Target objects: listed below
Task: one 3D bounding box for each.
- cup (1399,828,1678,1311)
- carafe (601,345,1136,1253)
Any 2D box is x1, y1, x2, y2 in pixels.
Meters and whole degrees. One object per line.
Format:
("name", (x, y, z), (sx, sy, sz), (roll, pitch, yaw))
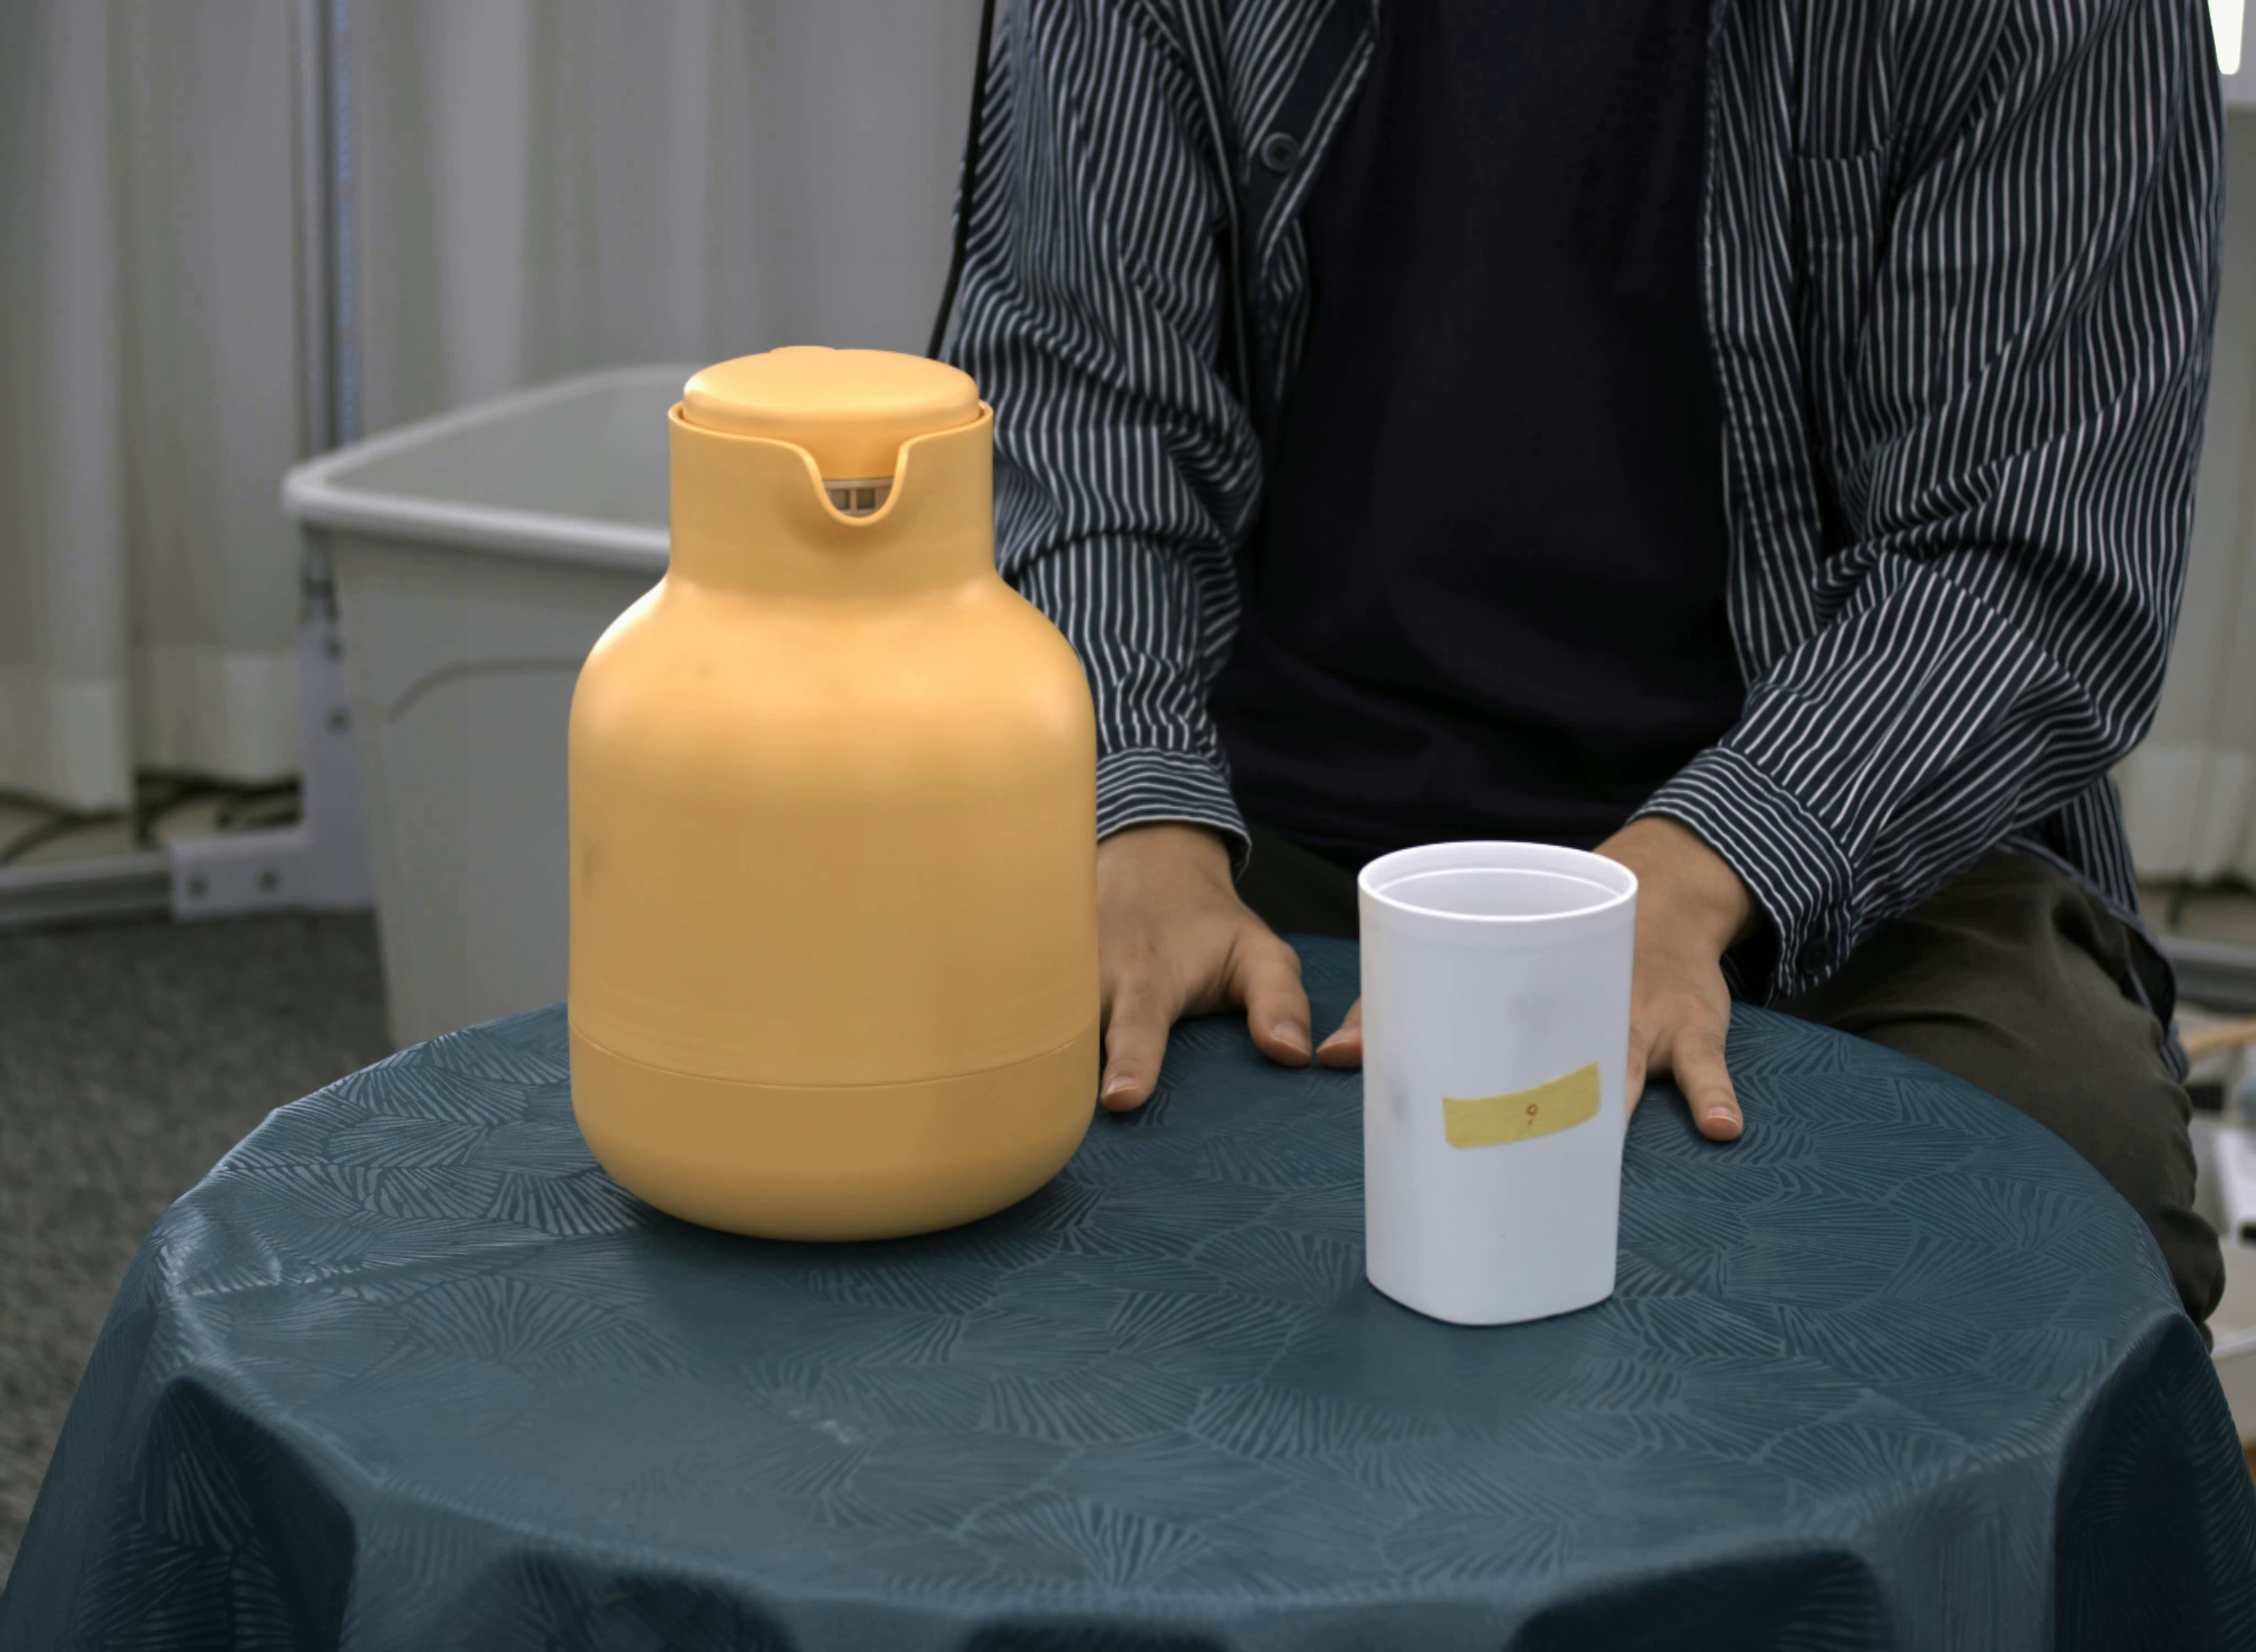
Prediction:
("cup", (0.119, 0.071, 1.537), (0.081, 0.126, 0.081), (0, 16, 1))
("carafe", (-0.081, -0.016, 1.605), (0.163, 0.262, 0.200), (-2, 16, -12))
